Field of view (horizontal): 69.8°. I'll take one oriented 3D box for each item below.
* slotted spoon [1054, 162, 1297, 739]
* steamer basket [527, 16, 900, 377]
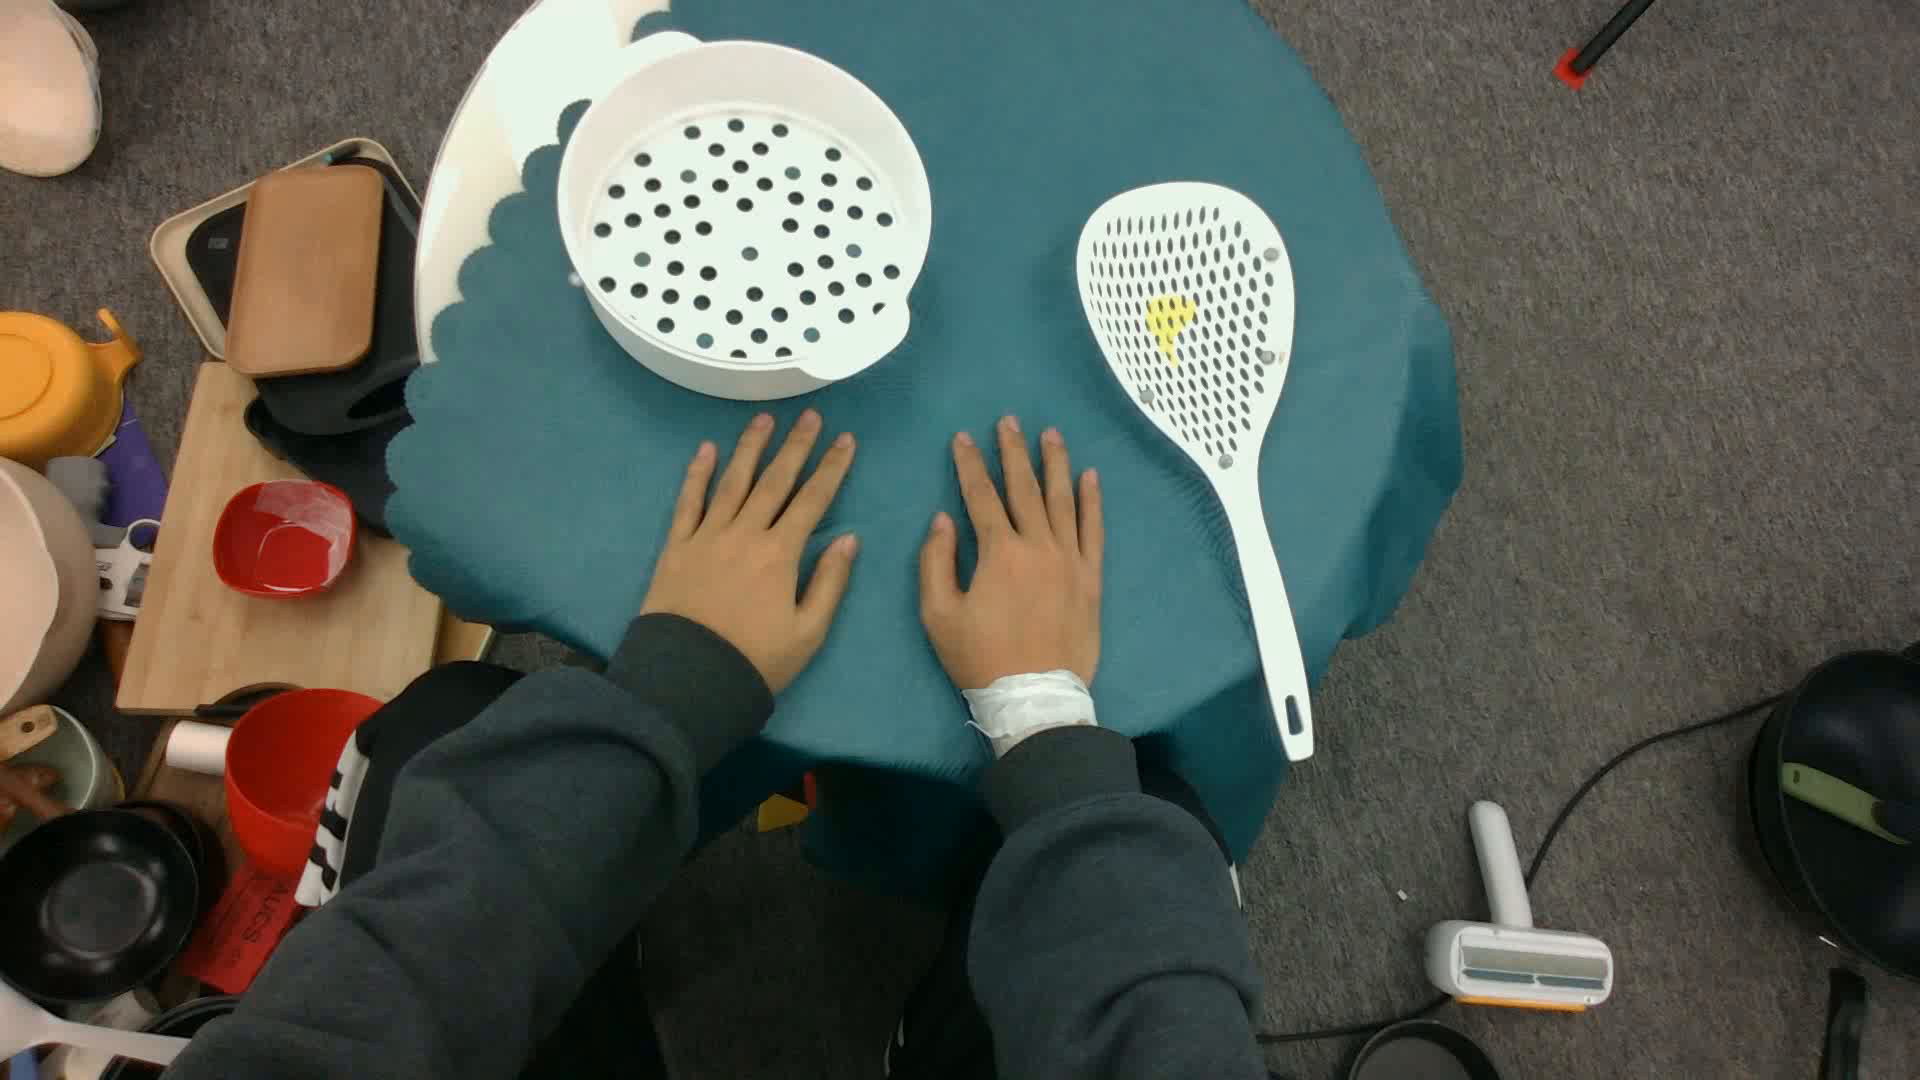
[{"bbox_3d":[0.144,-0.053,0.809,0.137,0.050,0.348,-12,80,-18],"label":"slotted spoon"},{"bbox_3d":[-0.137,-0.190,0.780,0.202,0.069,0.230,-36,80,-17],"label":"steamer basket"}]
